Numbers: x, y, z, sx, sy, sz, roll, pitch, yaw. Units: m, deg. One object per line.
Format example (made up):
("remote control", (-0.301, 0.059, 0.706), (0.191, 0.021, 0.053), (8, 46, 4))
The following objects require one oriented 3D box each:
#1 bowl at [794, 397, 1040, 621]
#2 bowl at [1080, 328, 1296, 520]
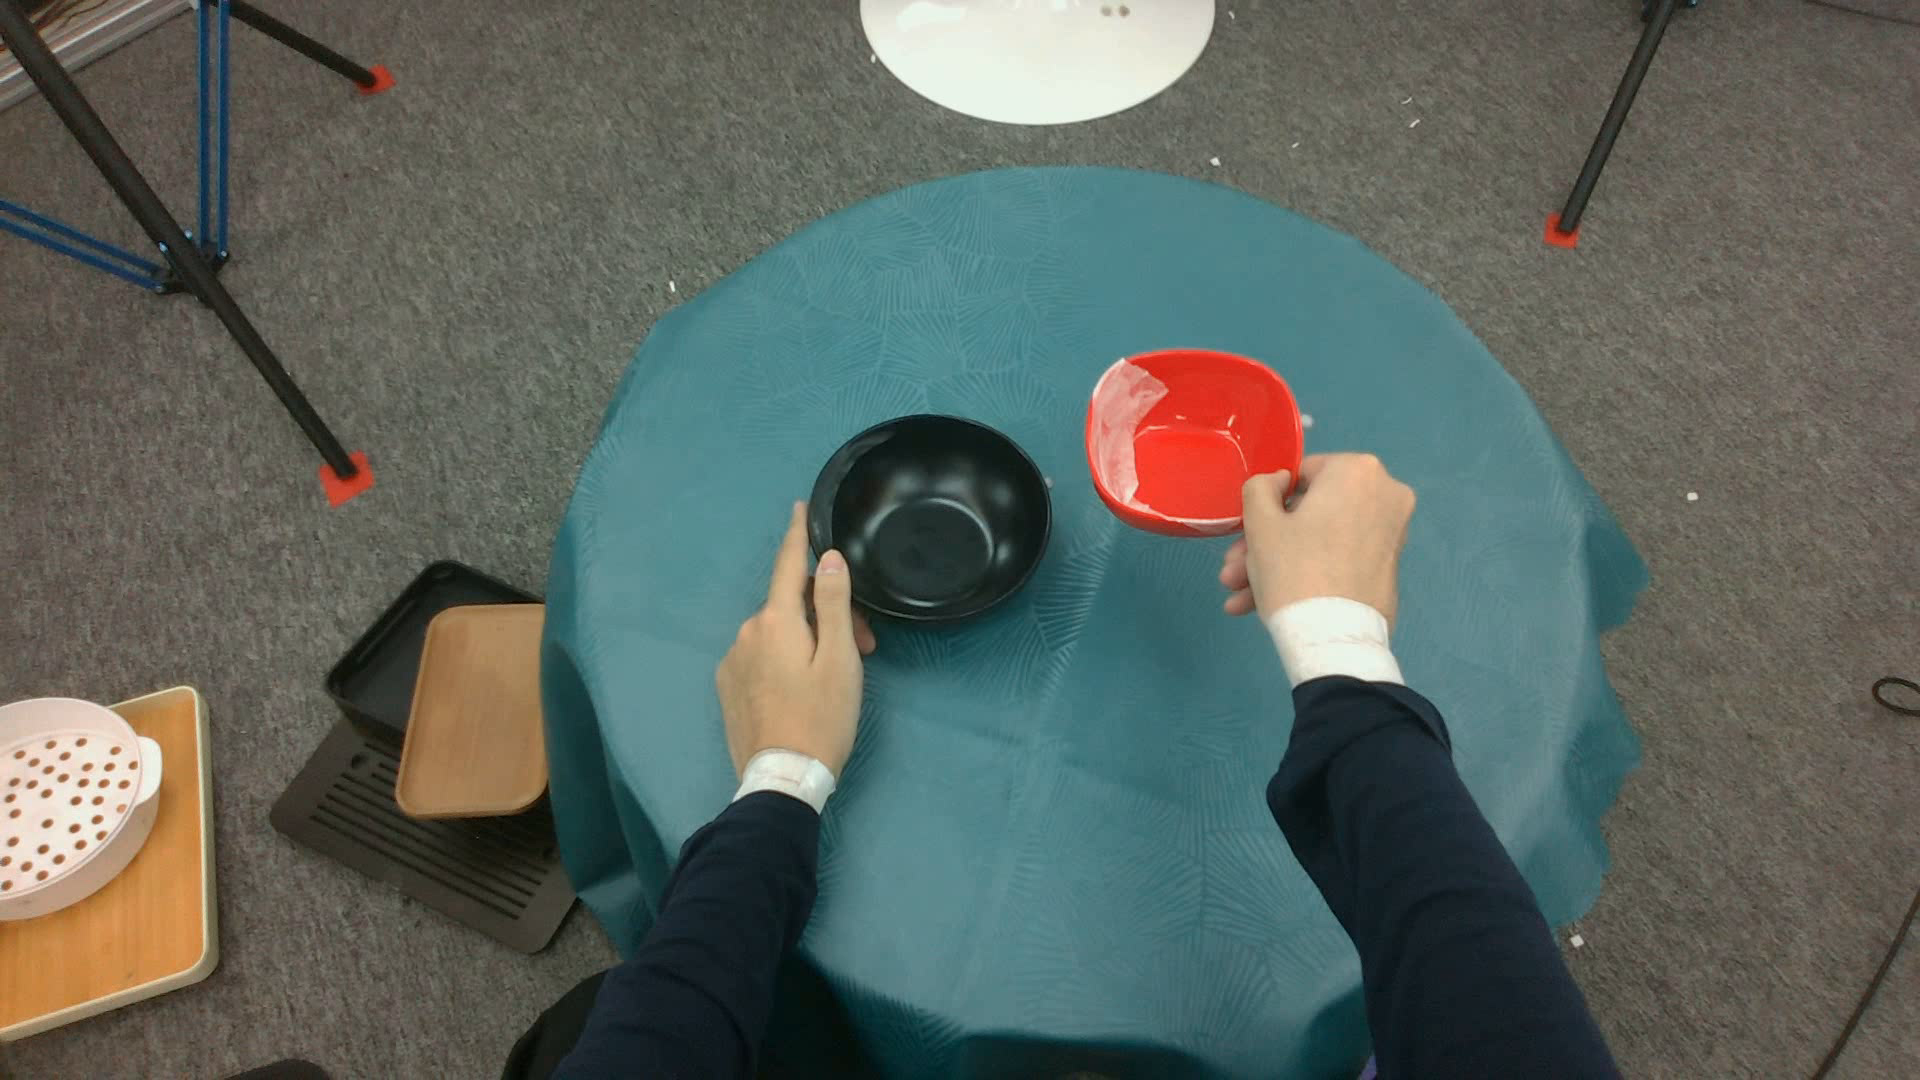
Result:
("bowl", (-0.024, -0.011, 0.794), (0.140, 0.049, 0.140), (0, 63, 0))
("bowl", (0.114, -0.052, 0.717), (0.119, 0.051, 0.119), (3, 56, -4))
